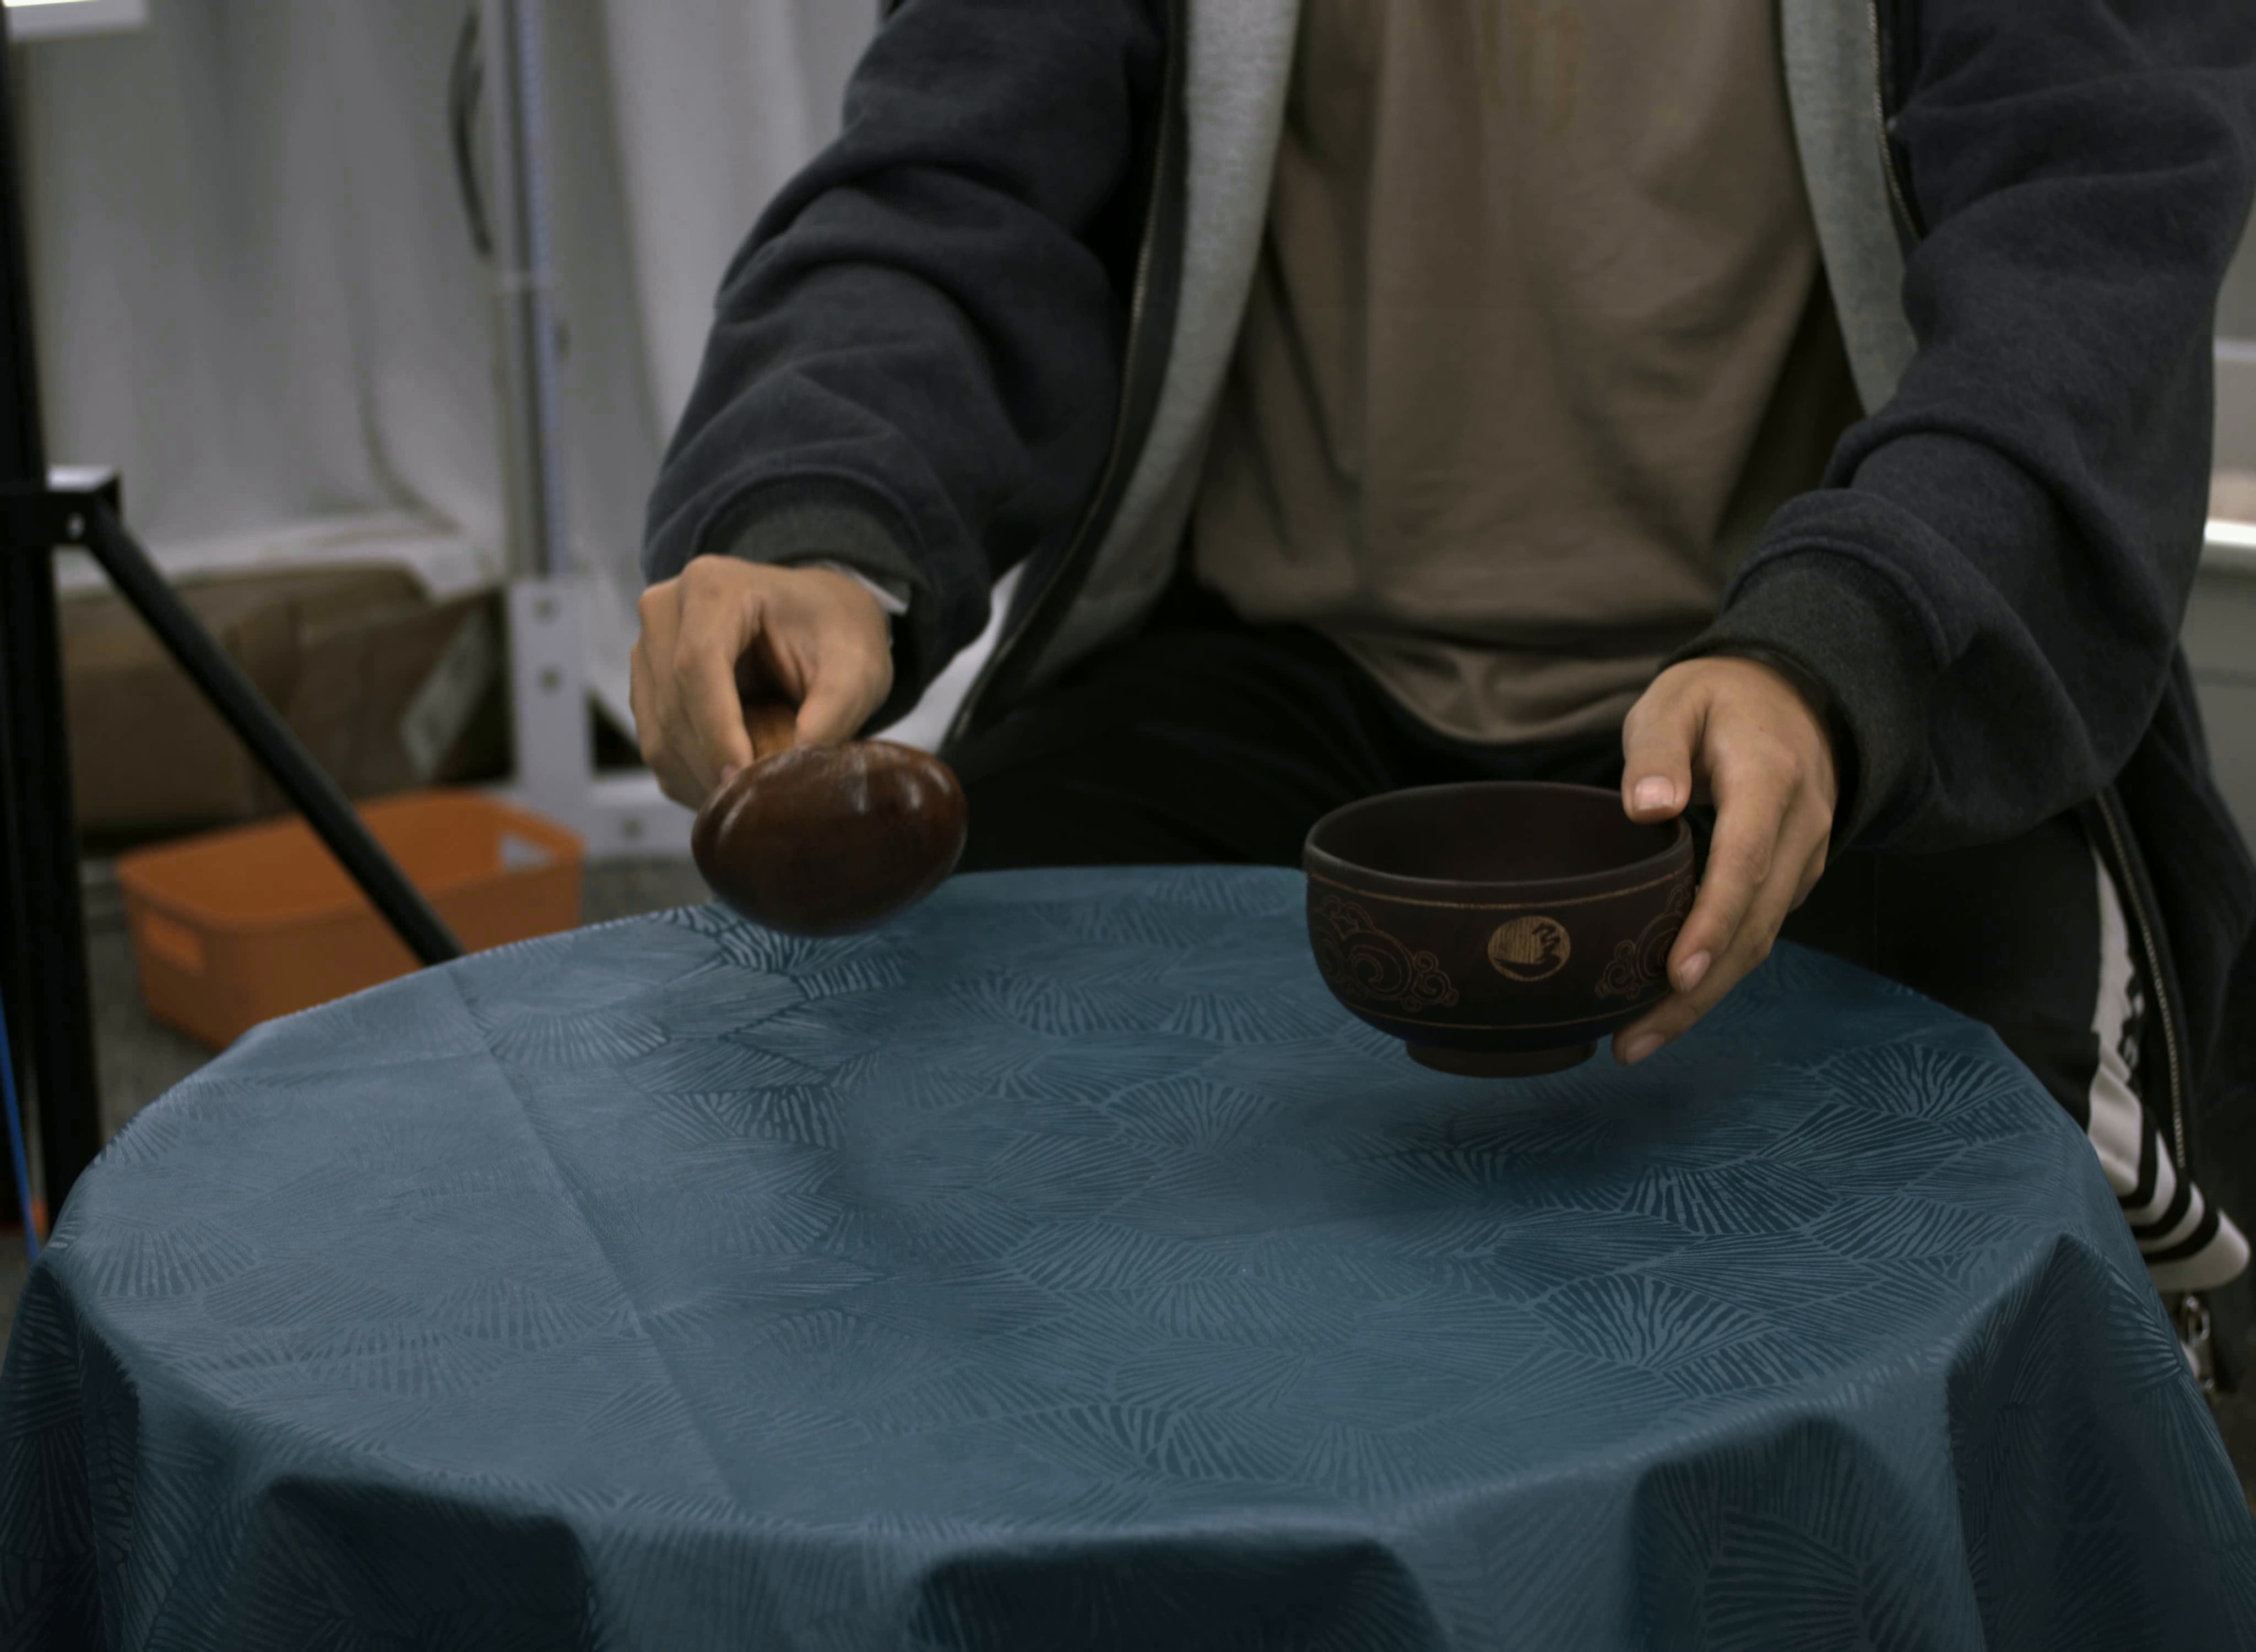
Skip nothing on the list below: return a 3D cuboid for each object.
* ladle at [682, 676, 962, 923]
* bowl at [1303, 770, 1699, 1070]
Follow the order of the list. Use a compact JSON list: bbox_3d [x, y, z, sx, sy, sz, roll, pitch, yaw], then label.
[{"bbox_3d":[-0.102,-0.033,1.643,0.081,0.076,0.277,-5,18,-6],"label":"ladle"},{"bbox_3d":[0.111,0.032,1.577,0.117,0.070,0.118,-3,15,-1],"label":"bowl"}]
